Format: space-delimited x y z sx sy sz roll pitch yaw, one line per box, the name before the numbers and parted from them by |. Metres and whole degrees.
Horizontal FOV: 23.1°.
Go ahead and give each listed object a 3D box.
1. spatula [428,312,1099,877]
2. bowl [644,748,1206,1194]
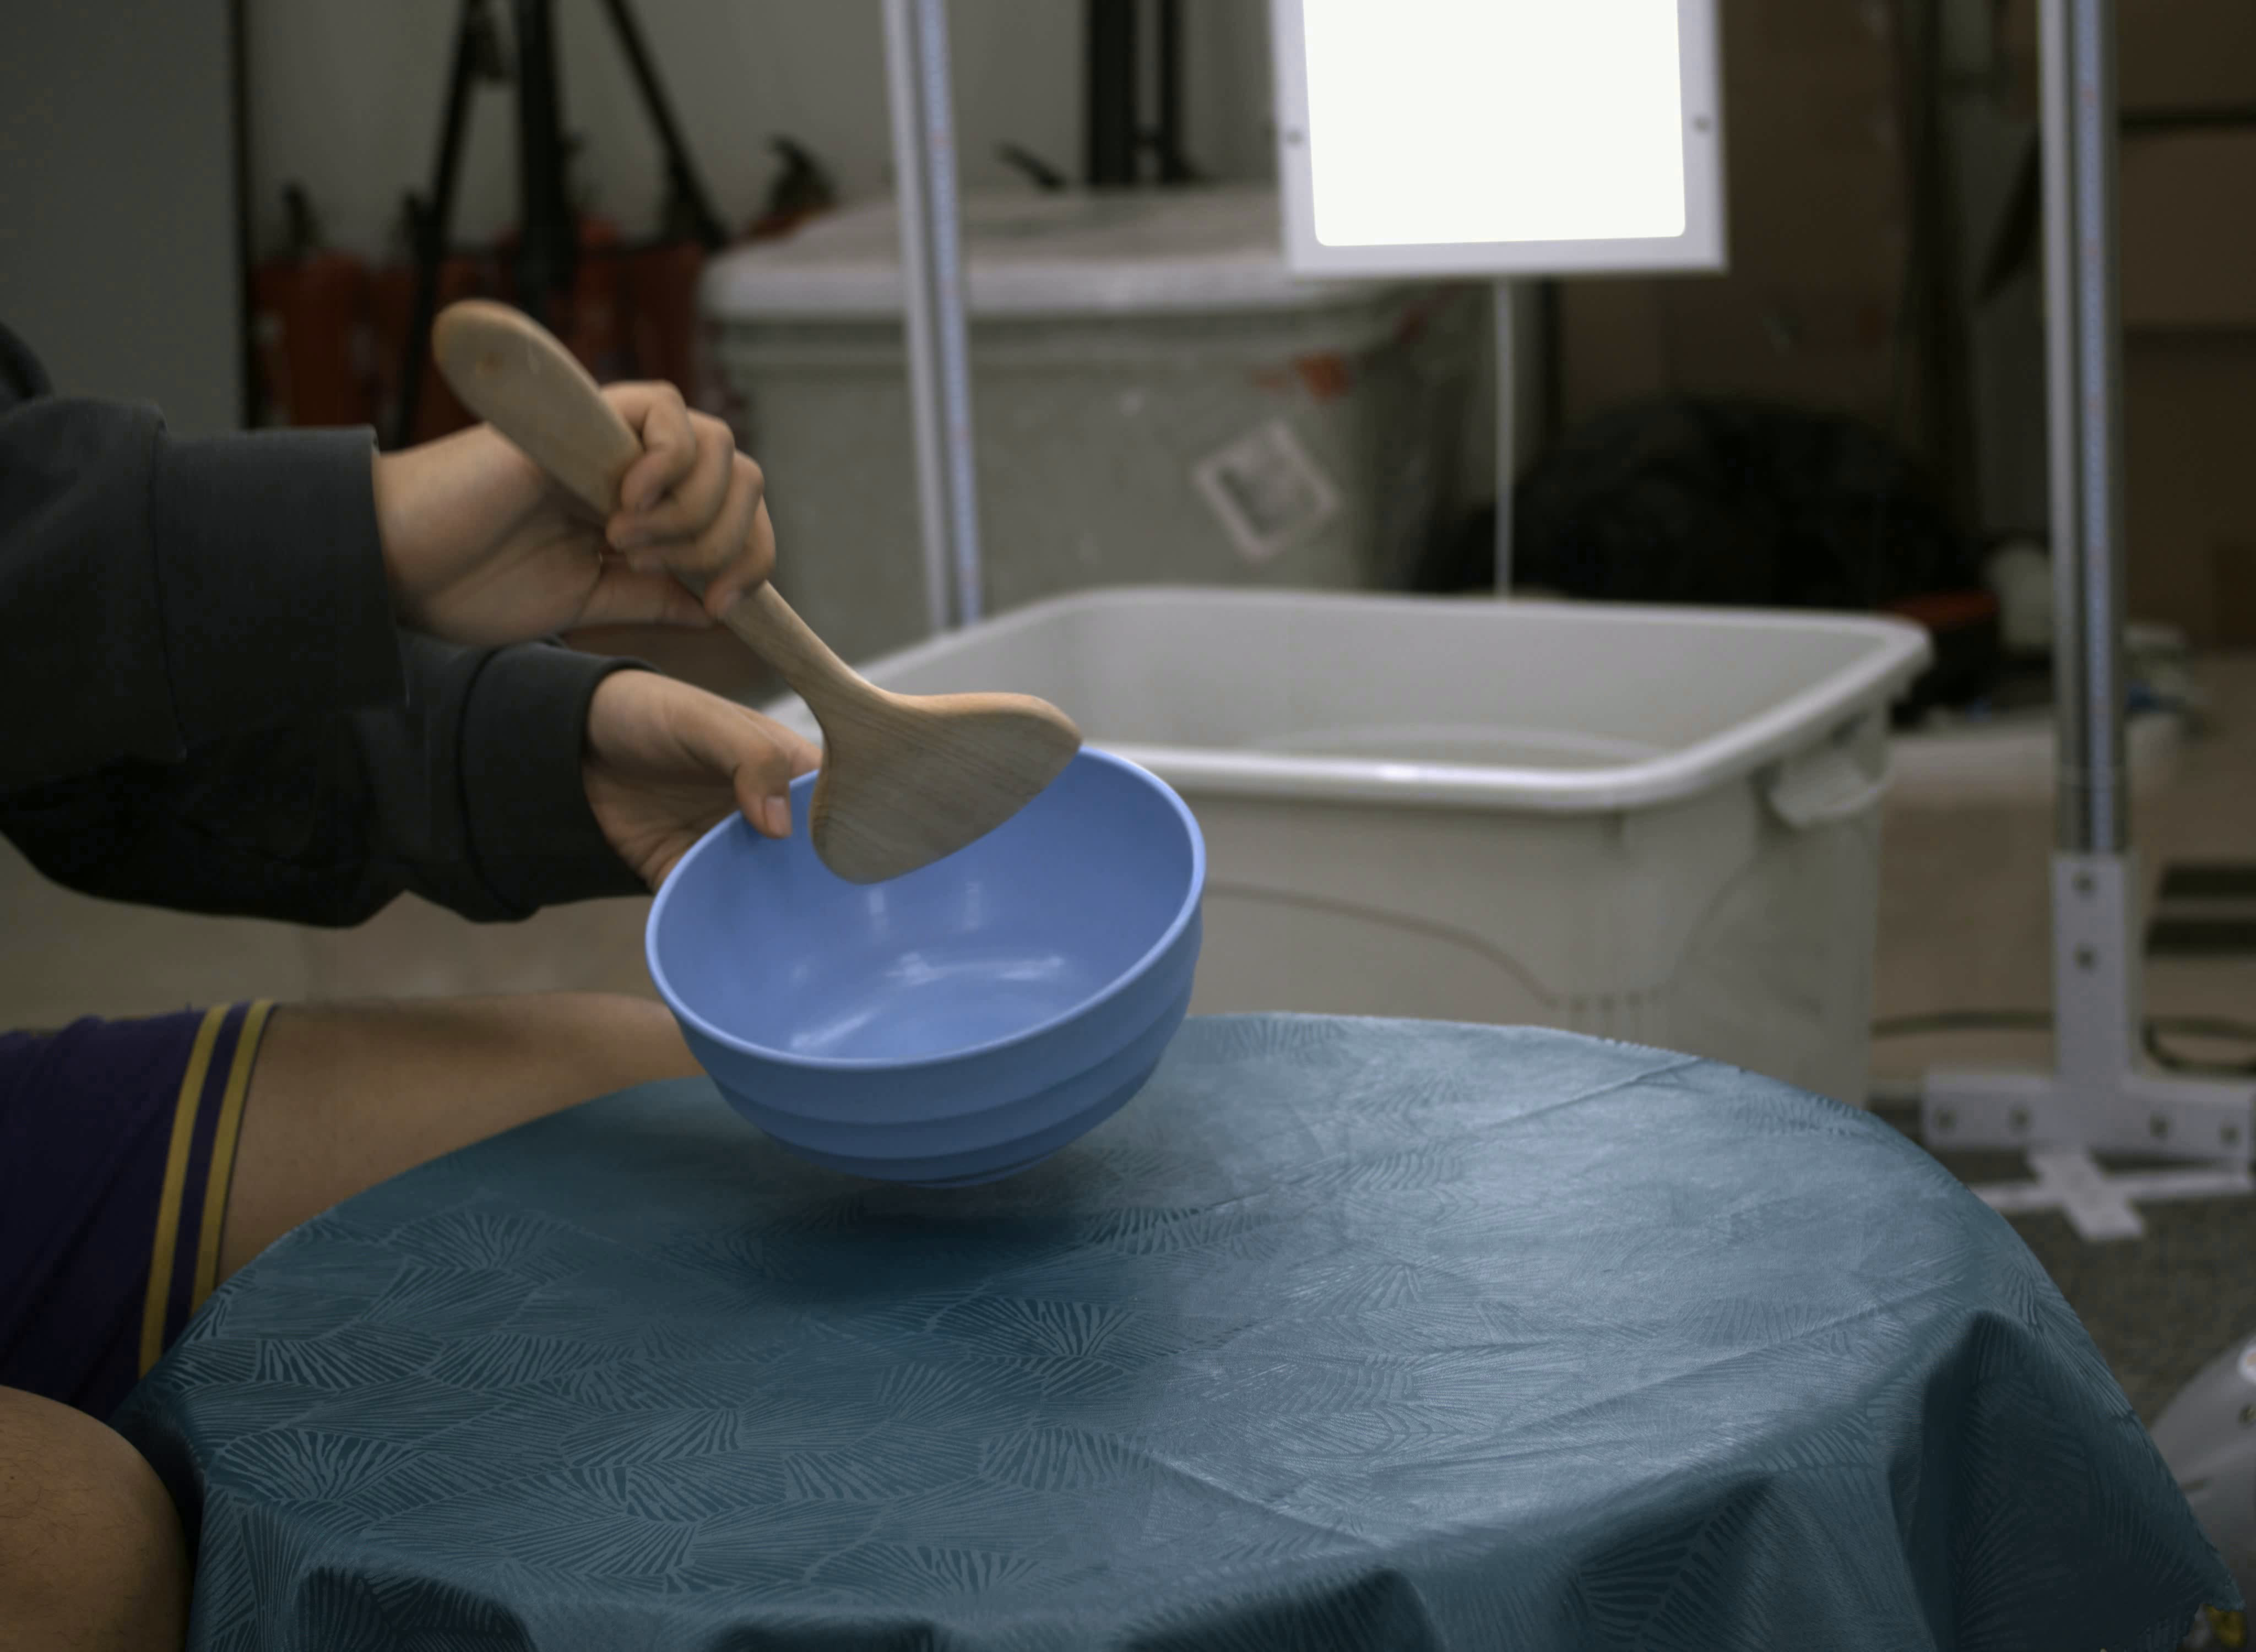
spatula | -0.111 -0.071 1.688 0.096 0.018 0.385 -34 -32 7
bowl | -0.064 0.063 1.916 0.197 0.095 0.196 -8 35 5
